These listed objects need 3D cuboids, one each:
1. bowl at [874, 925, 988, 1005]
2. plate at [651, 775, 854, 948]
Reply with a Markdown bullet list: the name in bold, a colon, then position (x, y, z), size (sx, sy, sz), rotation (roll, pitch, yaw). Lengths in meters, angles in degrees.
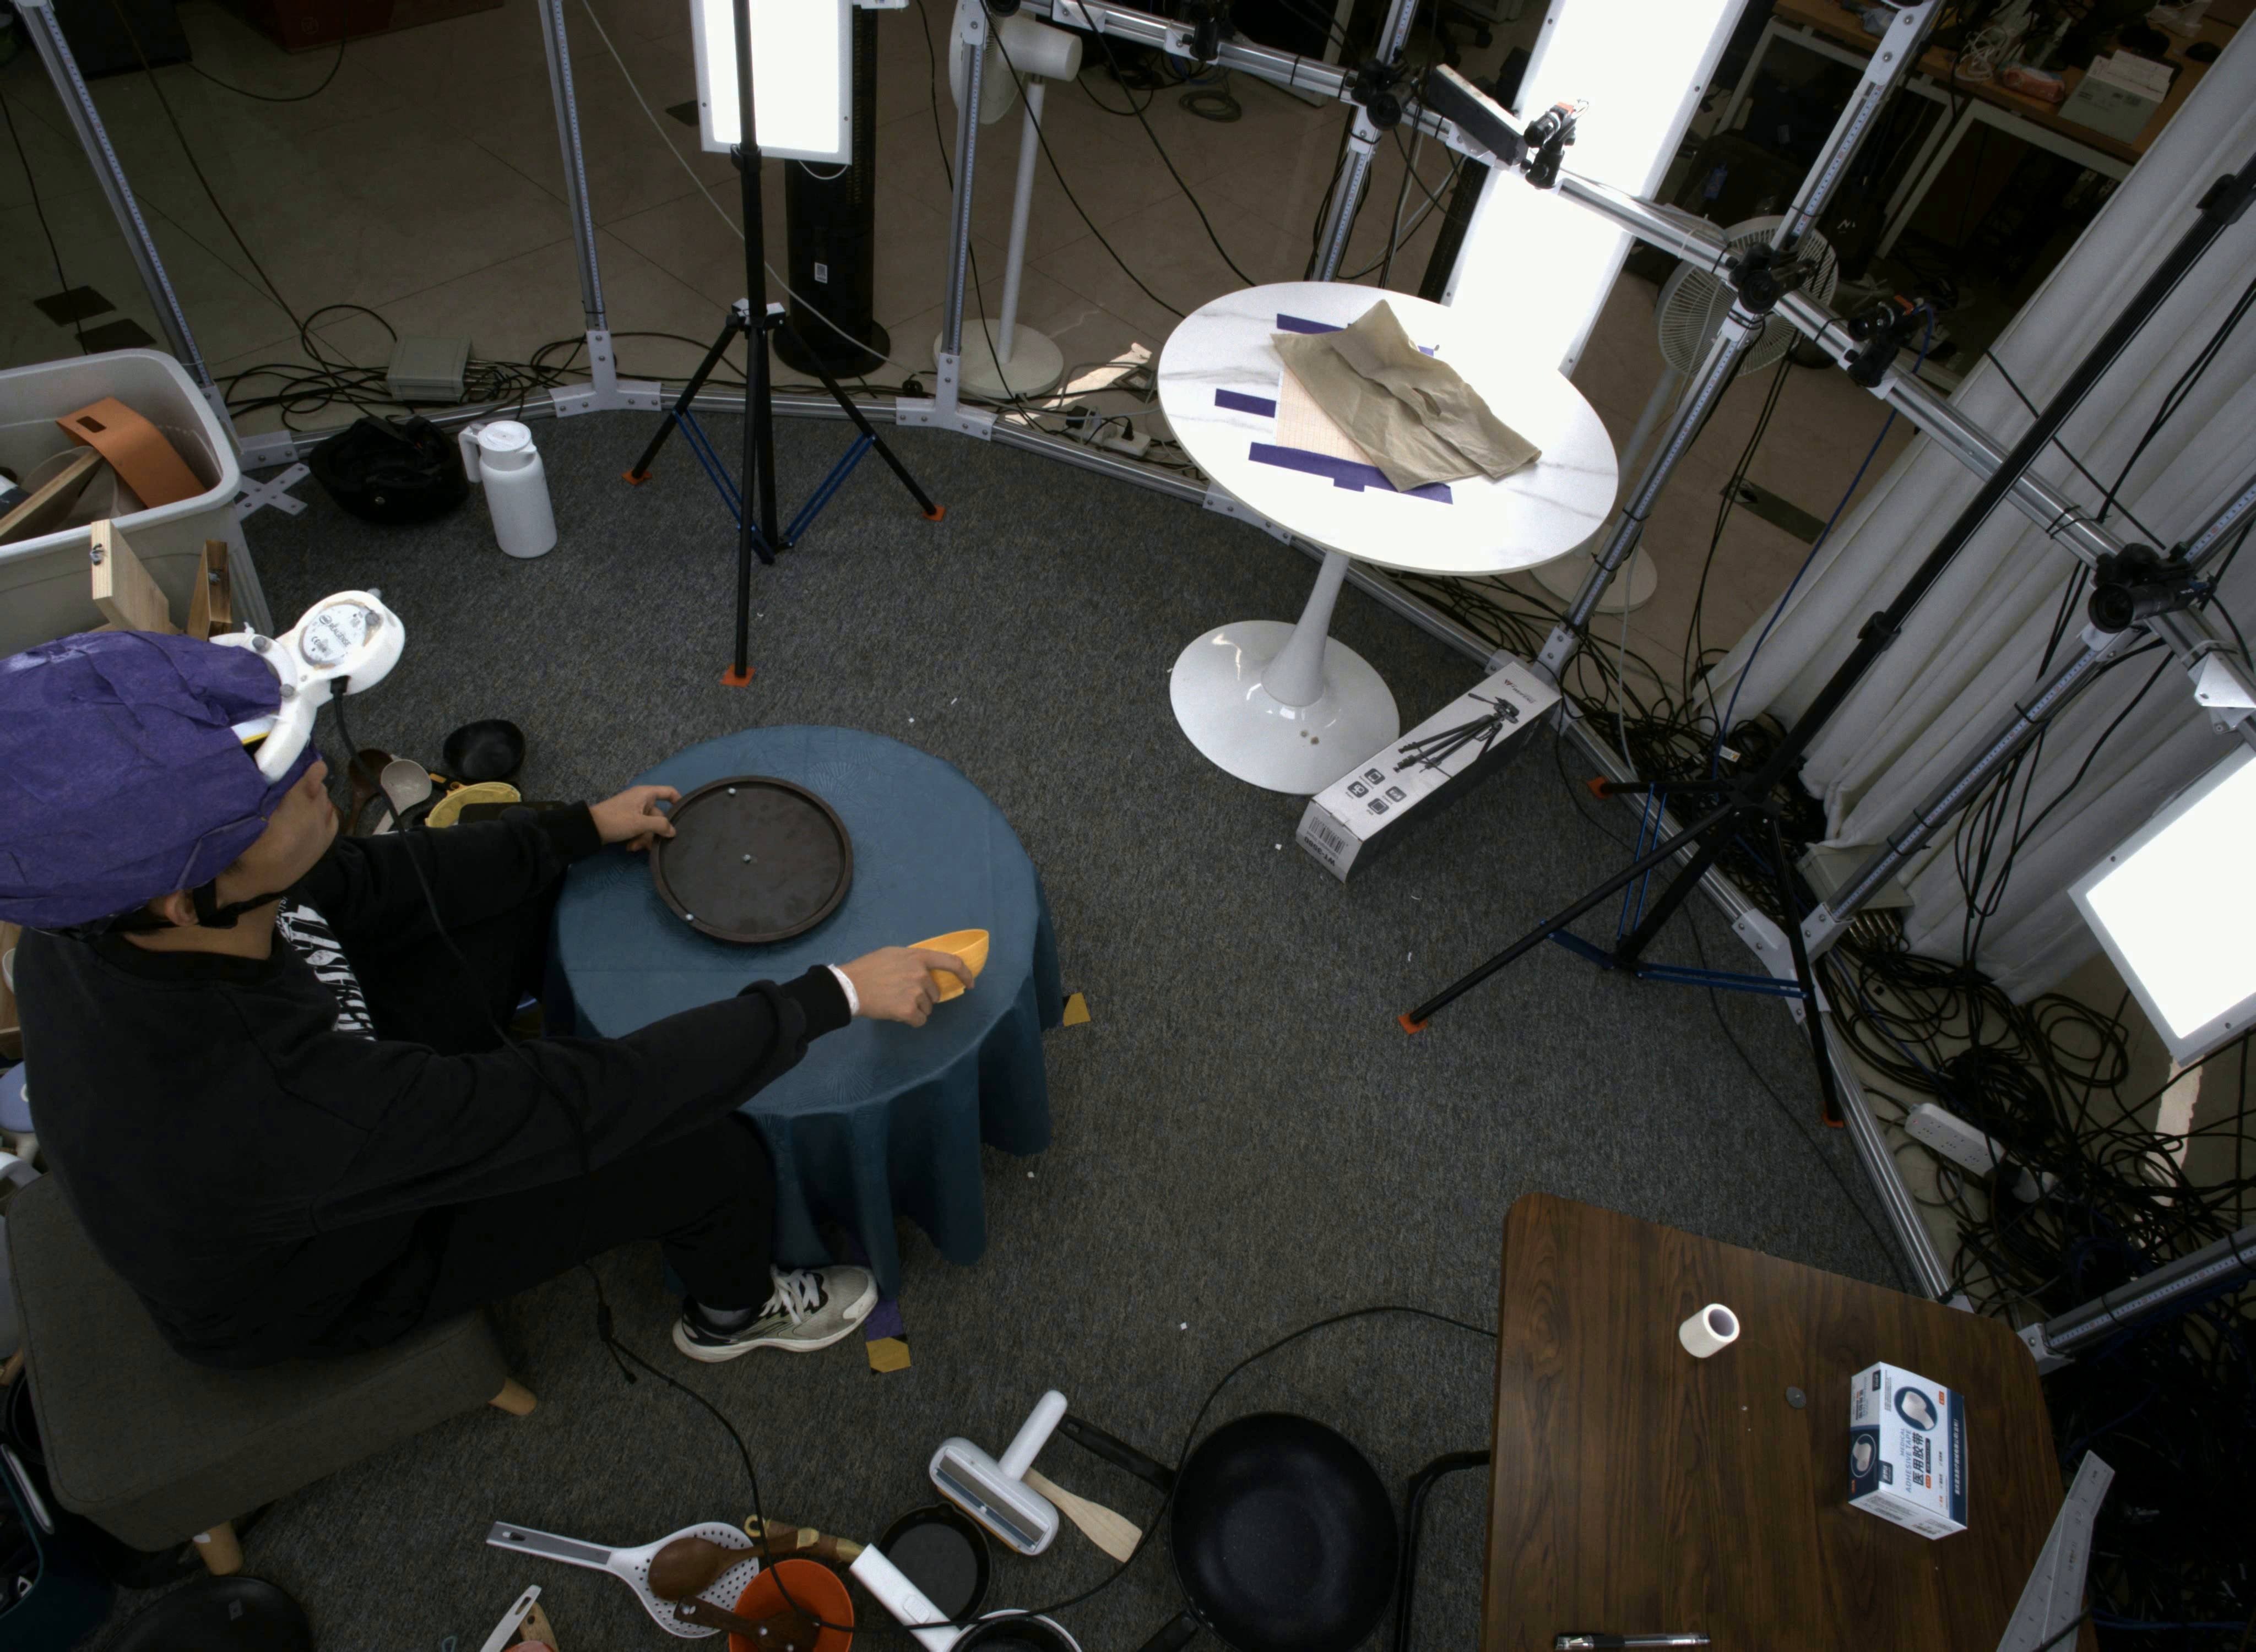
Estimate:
- **bowl**: position (-0.227, 0.172, 1.561), size (0.146, 0.141, 0.061), rotation (-23, 99, -28)
- **plate**: position (-0.479, 0.042, 1.656), size (0.256, 0.029, 0.251), rotation (11, 57, -14)
